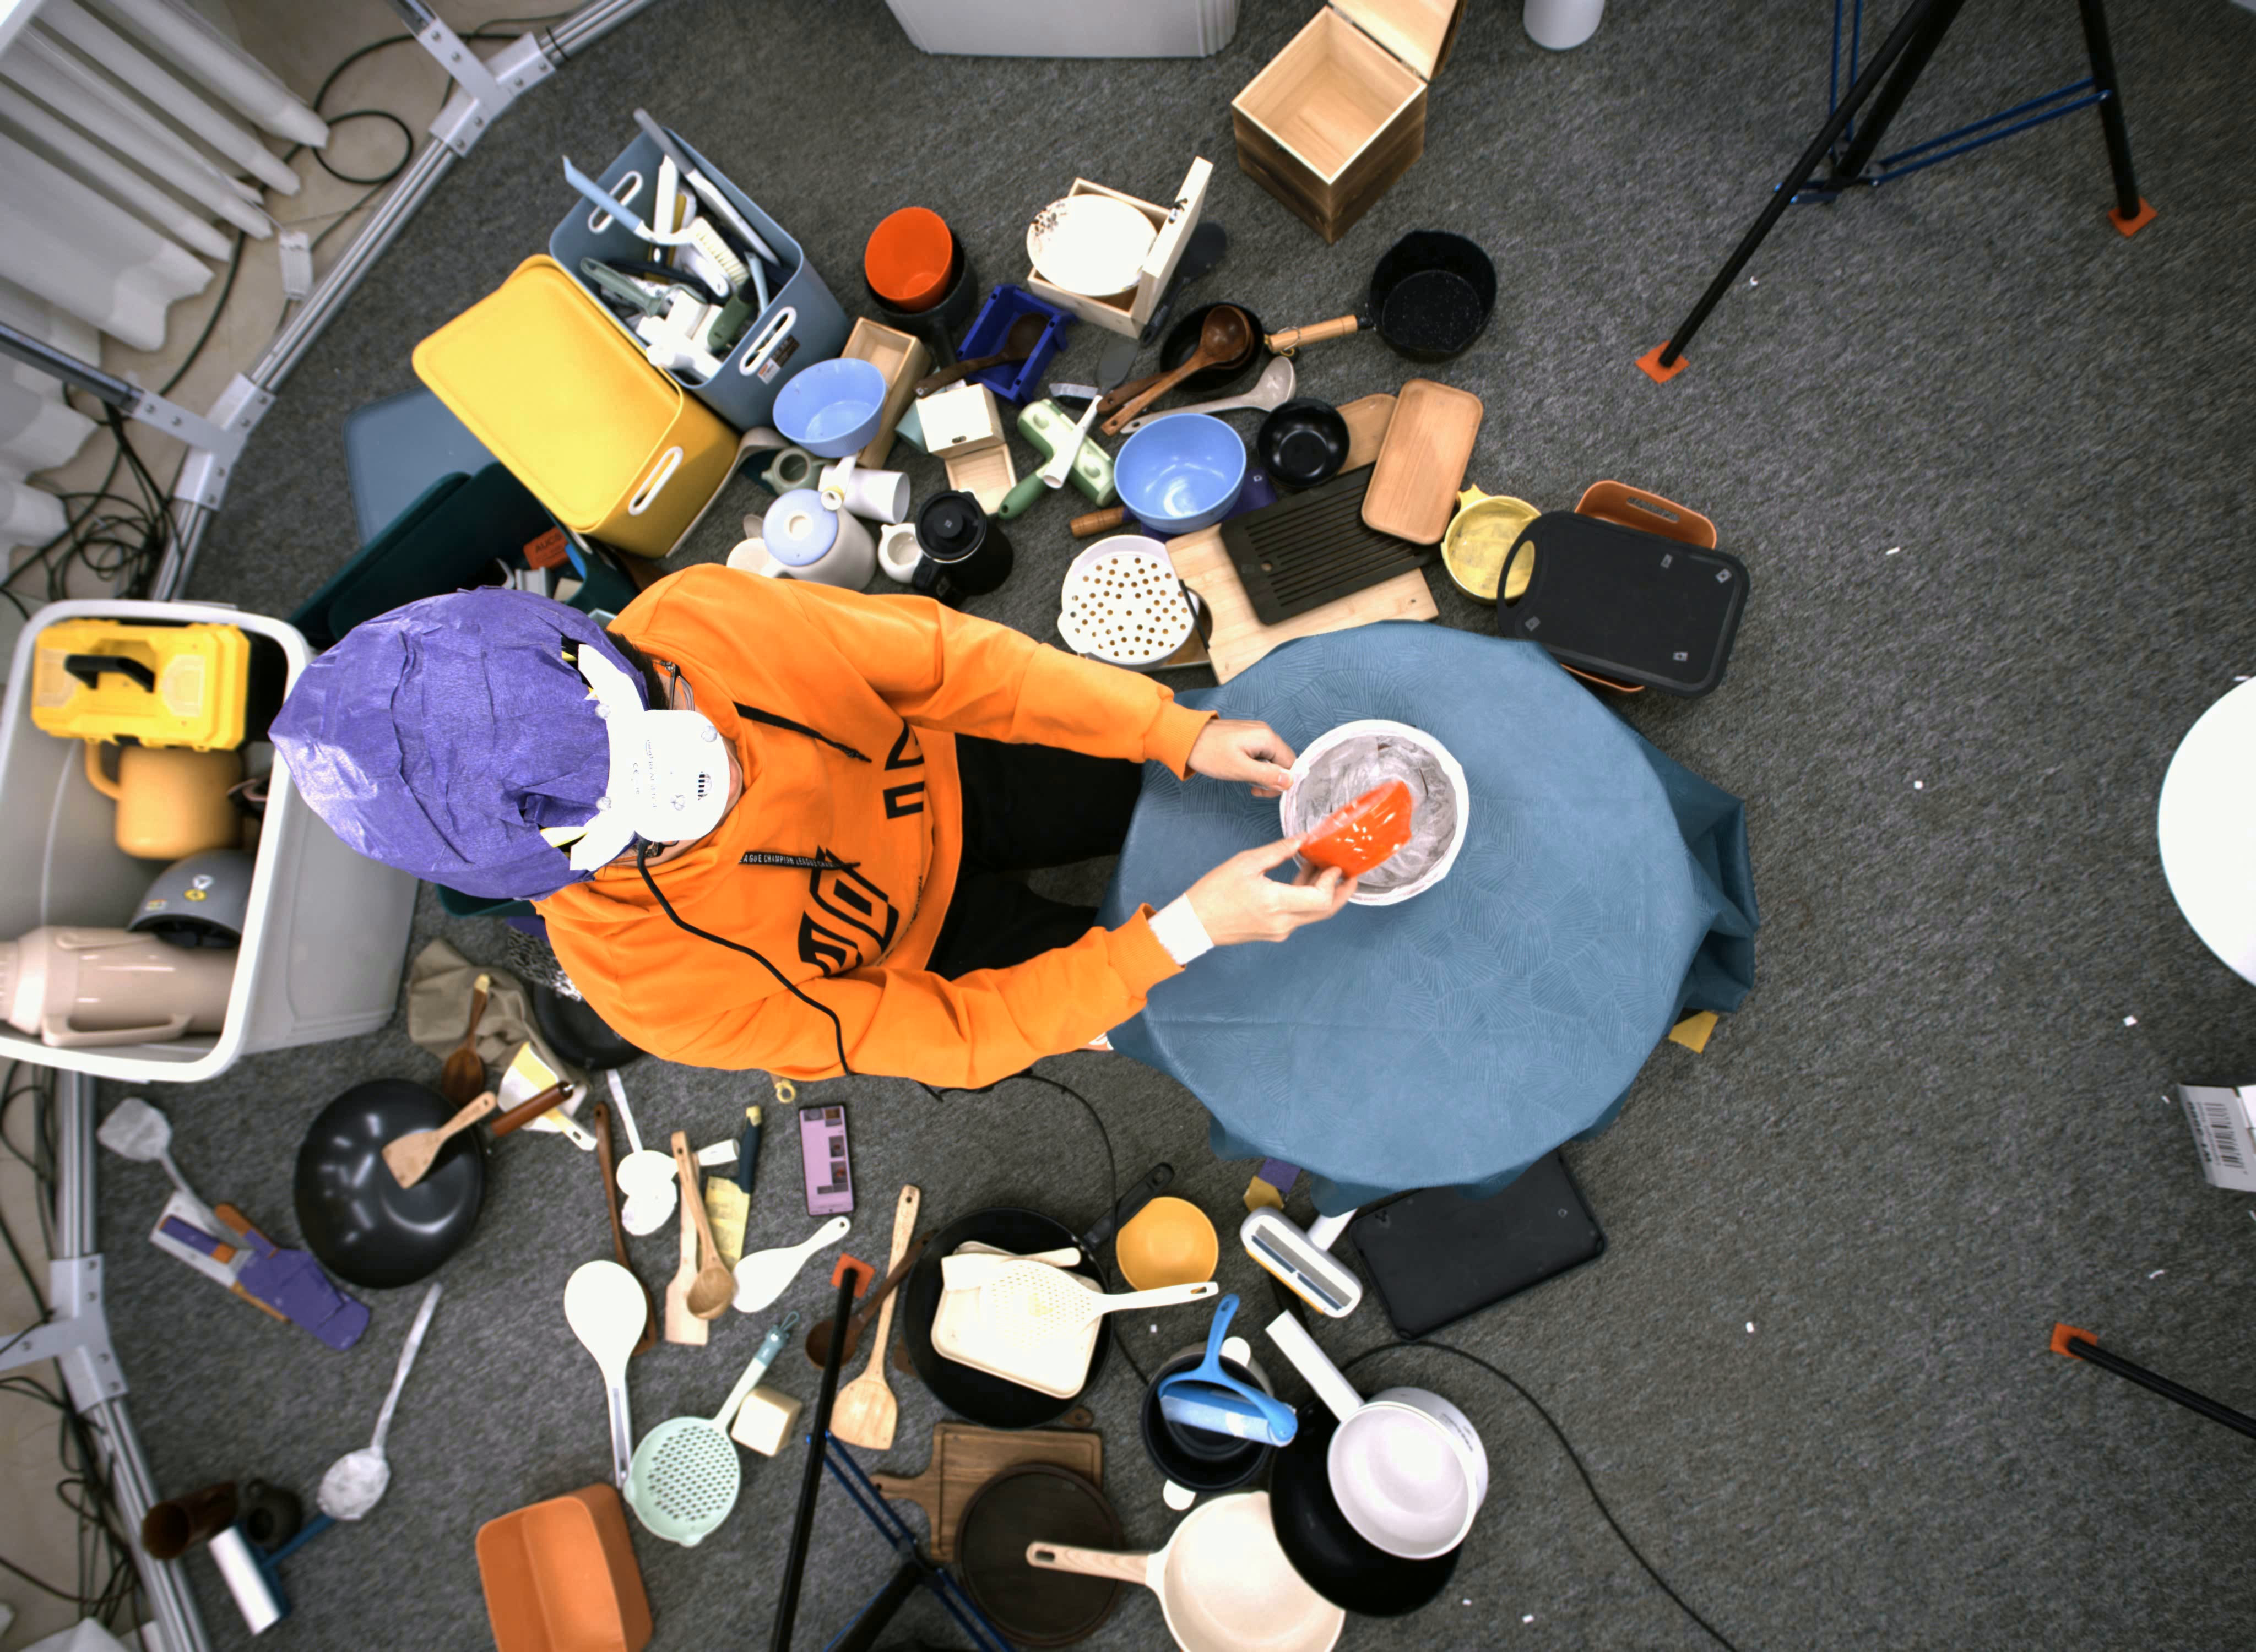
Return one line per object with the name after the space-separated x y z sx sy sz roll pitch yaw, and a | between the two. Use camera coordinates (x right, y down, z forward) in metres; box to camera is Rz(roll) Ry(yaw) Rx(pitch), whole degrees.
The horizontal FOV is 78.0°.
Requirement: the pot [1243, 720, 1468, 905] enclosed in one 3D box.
0.223 -0.026 1.377 0.234 0.135 0.180 18 100 13 | pot

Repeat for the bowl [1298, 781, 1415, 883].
0.220 0.011 1.282 0.119 0.118 0.051 -35 91 5 | bowl
